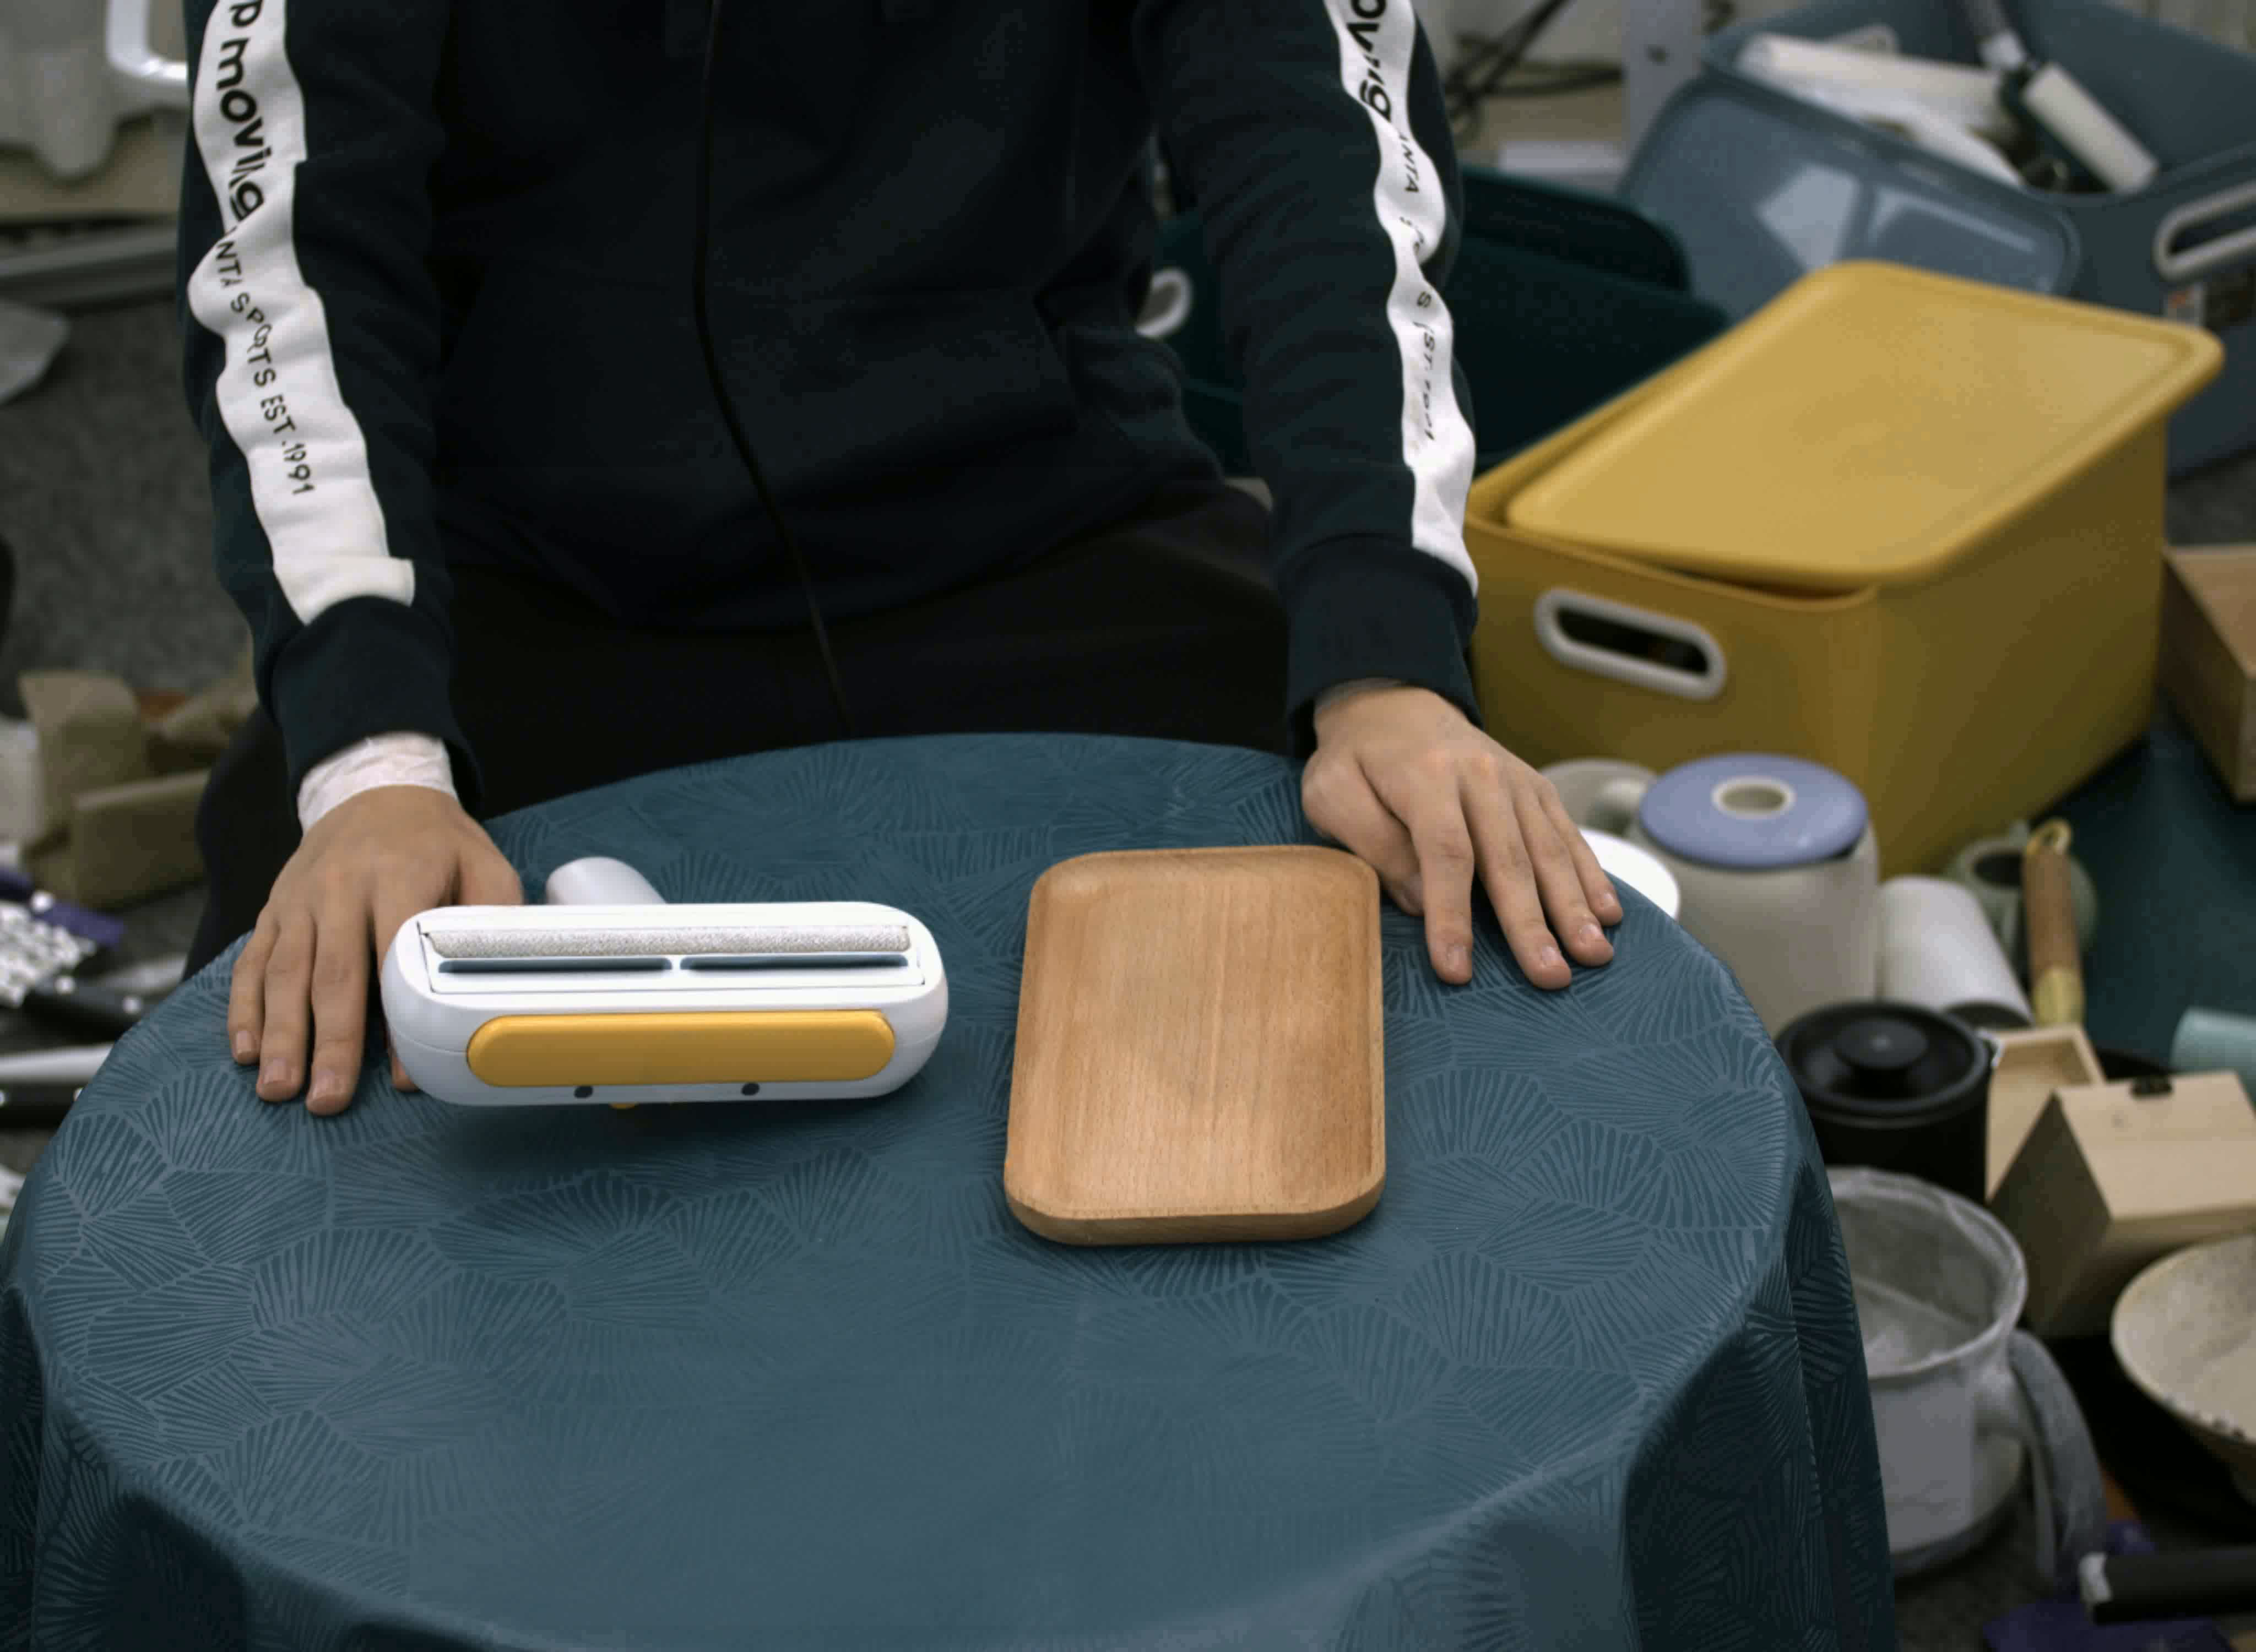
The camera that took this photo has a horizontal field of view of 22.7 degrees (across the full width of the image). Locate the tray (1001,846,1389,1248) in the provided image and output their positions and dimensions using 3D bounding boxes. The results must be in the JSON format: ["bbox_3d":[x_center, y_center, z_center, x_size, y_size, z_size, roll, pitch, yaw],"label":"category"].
[{"bbox_3d":[0.025,0.074,1.933,0.130,0.022,0.254,1,27,3],"label":"tray"}]

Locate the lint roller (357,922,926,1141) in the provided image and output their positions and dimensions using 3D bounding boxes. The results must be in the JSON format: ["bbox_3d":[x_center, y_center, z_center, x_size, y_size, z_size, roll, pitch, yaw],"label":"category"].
[{"bbox_3d":[-0.174,0.061,1.962,0.192,0.074,0.193,-1,12,-10],"label":"lint roller"}]
